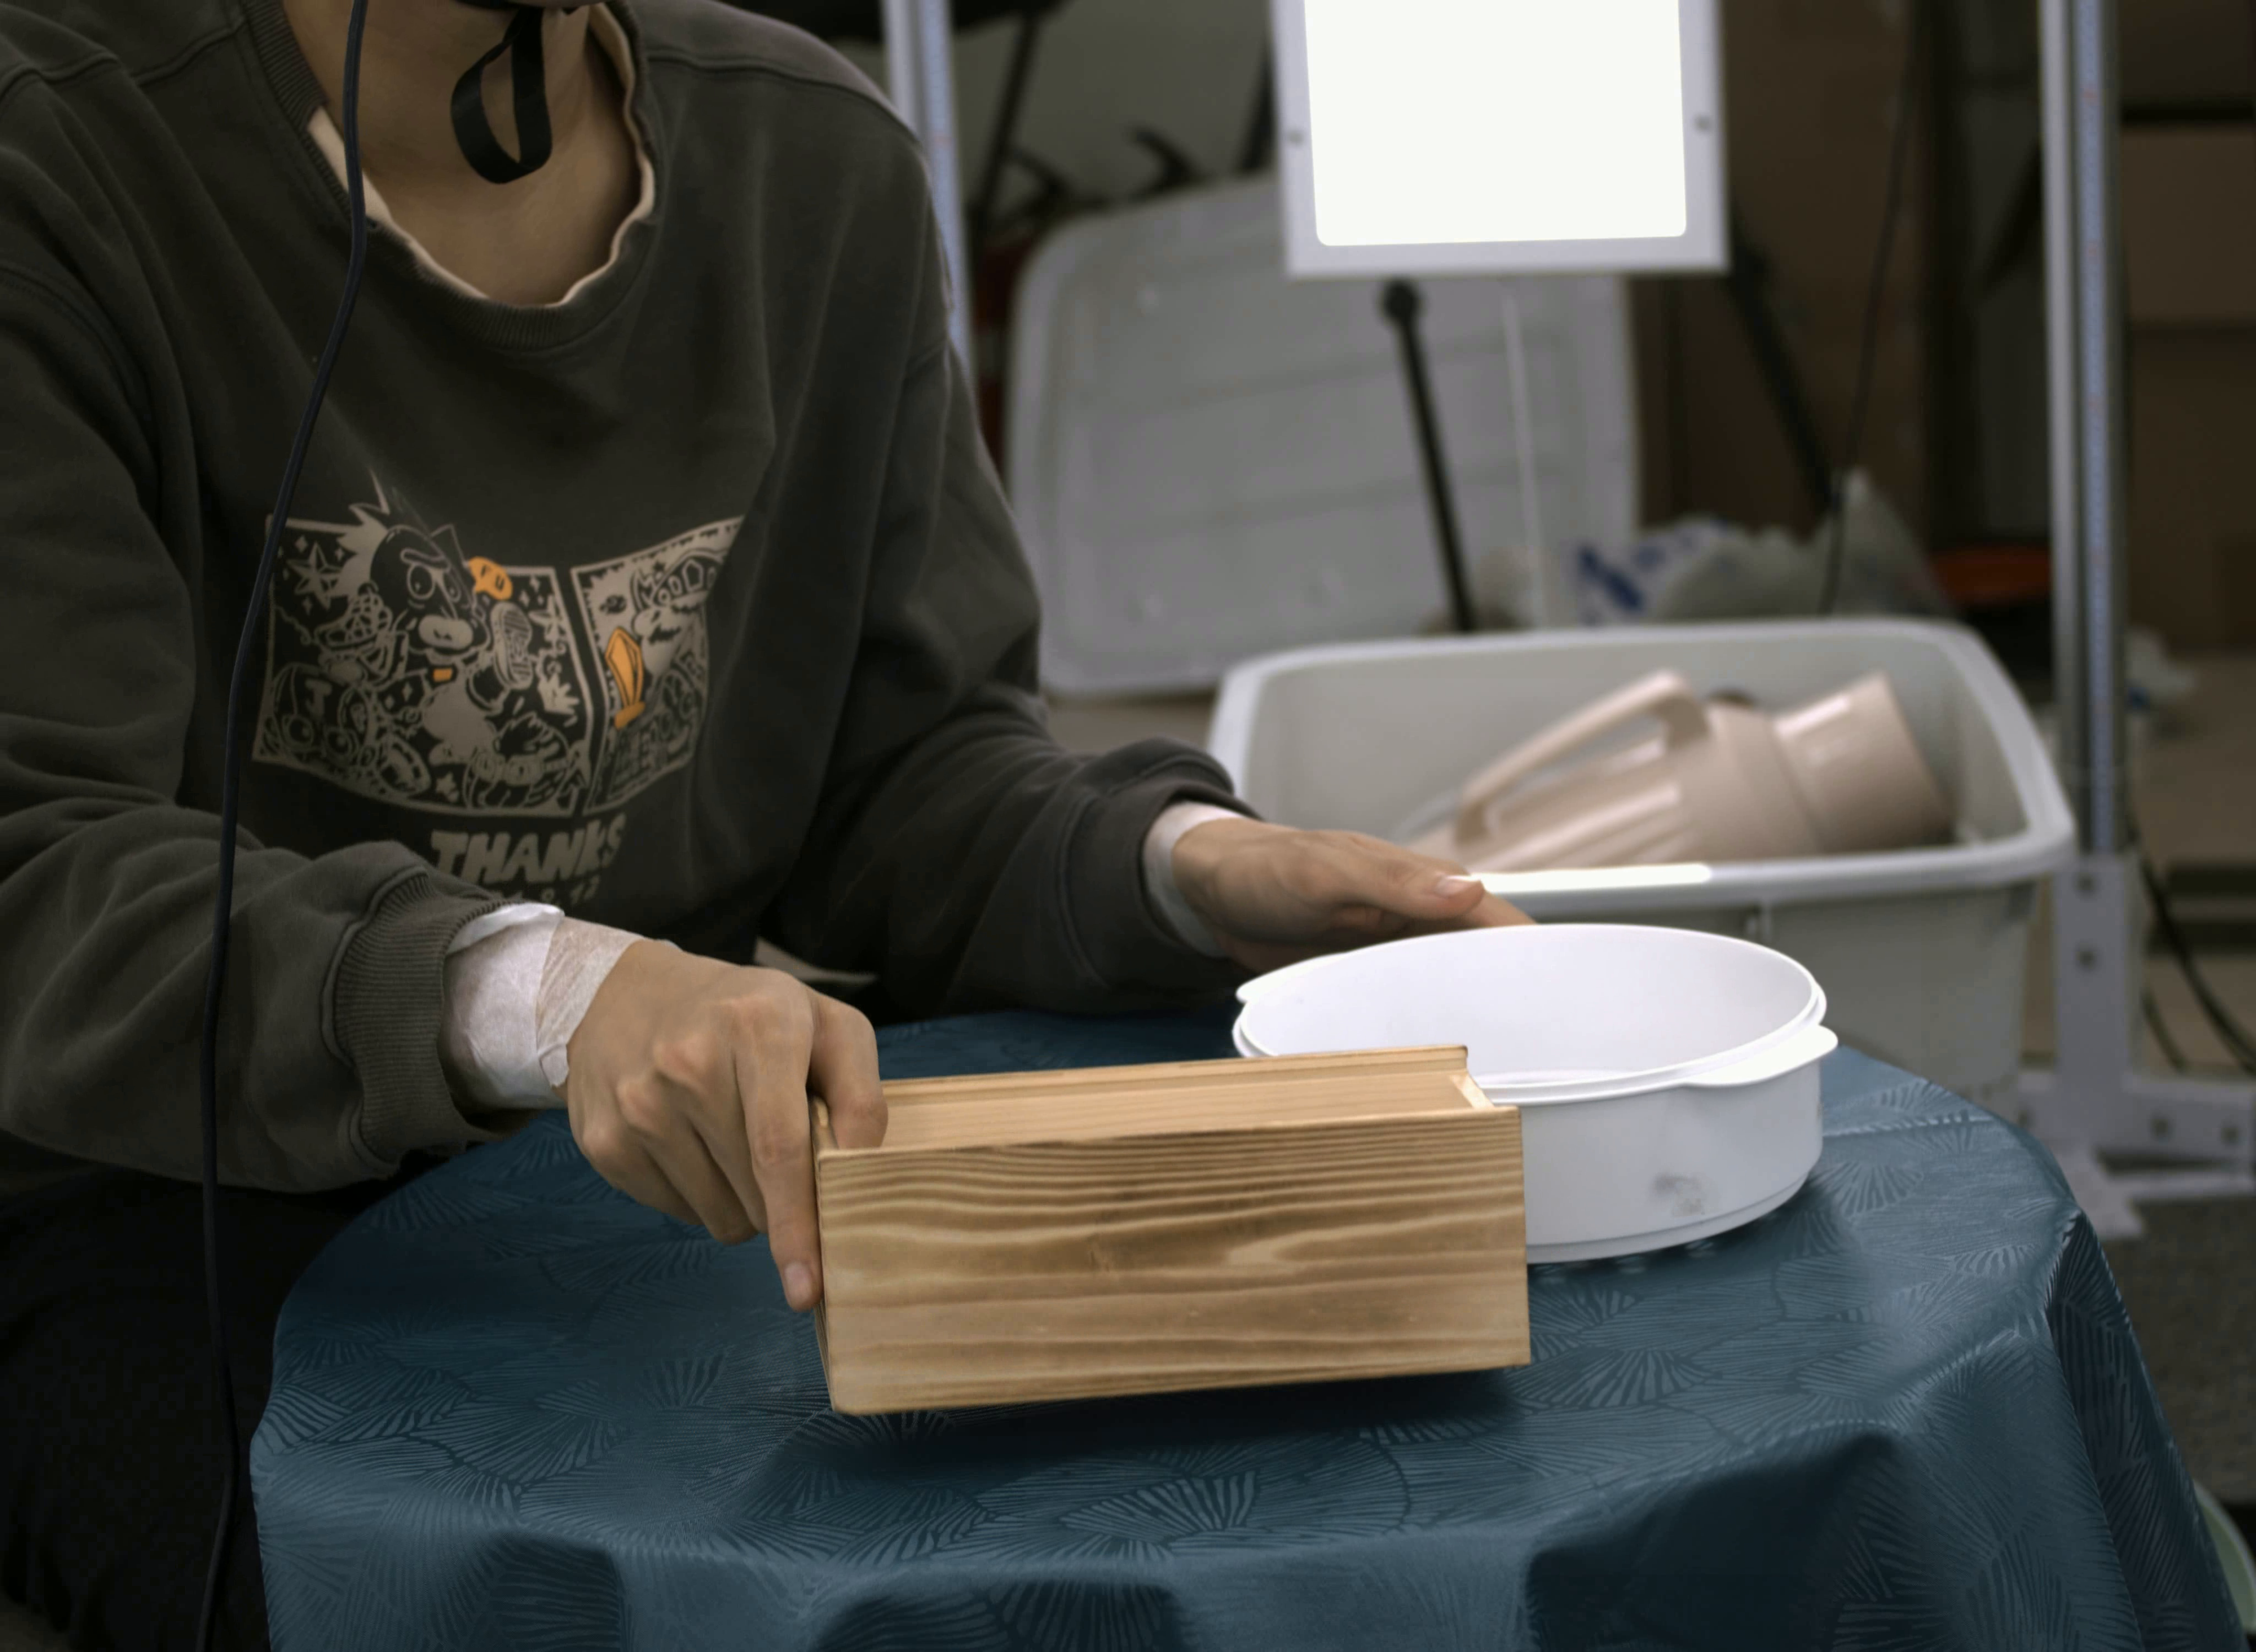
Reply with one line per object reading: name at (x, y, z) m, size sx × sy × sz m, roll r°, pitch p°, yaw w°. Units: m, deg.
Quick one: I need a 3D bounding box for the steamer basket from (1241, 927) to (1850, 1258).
steamer basket at (0.140, 0.089, 1.849) m, size 0.235 × 0.069 × 0.197 m, roll 8°, pitch 18°, yaw 45°

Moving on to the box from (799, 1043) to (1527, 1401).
box at (0.009, 0.119, 1.681) m, size 0.210 × 0.080 × 0.108 m, roll -3°, pitch 8°, yaw -4°
